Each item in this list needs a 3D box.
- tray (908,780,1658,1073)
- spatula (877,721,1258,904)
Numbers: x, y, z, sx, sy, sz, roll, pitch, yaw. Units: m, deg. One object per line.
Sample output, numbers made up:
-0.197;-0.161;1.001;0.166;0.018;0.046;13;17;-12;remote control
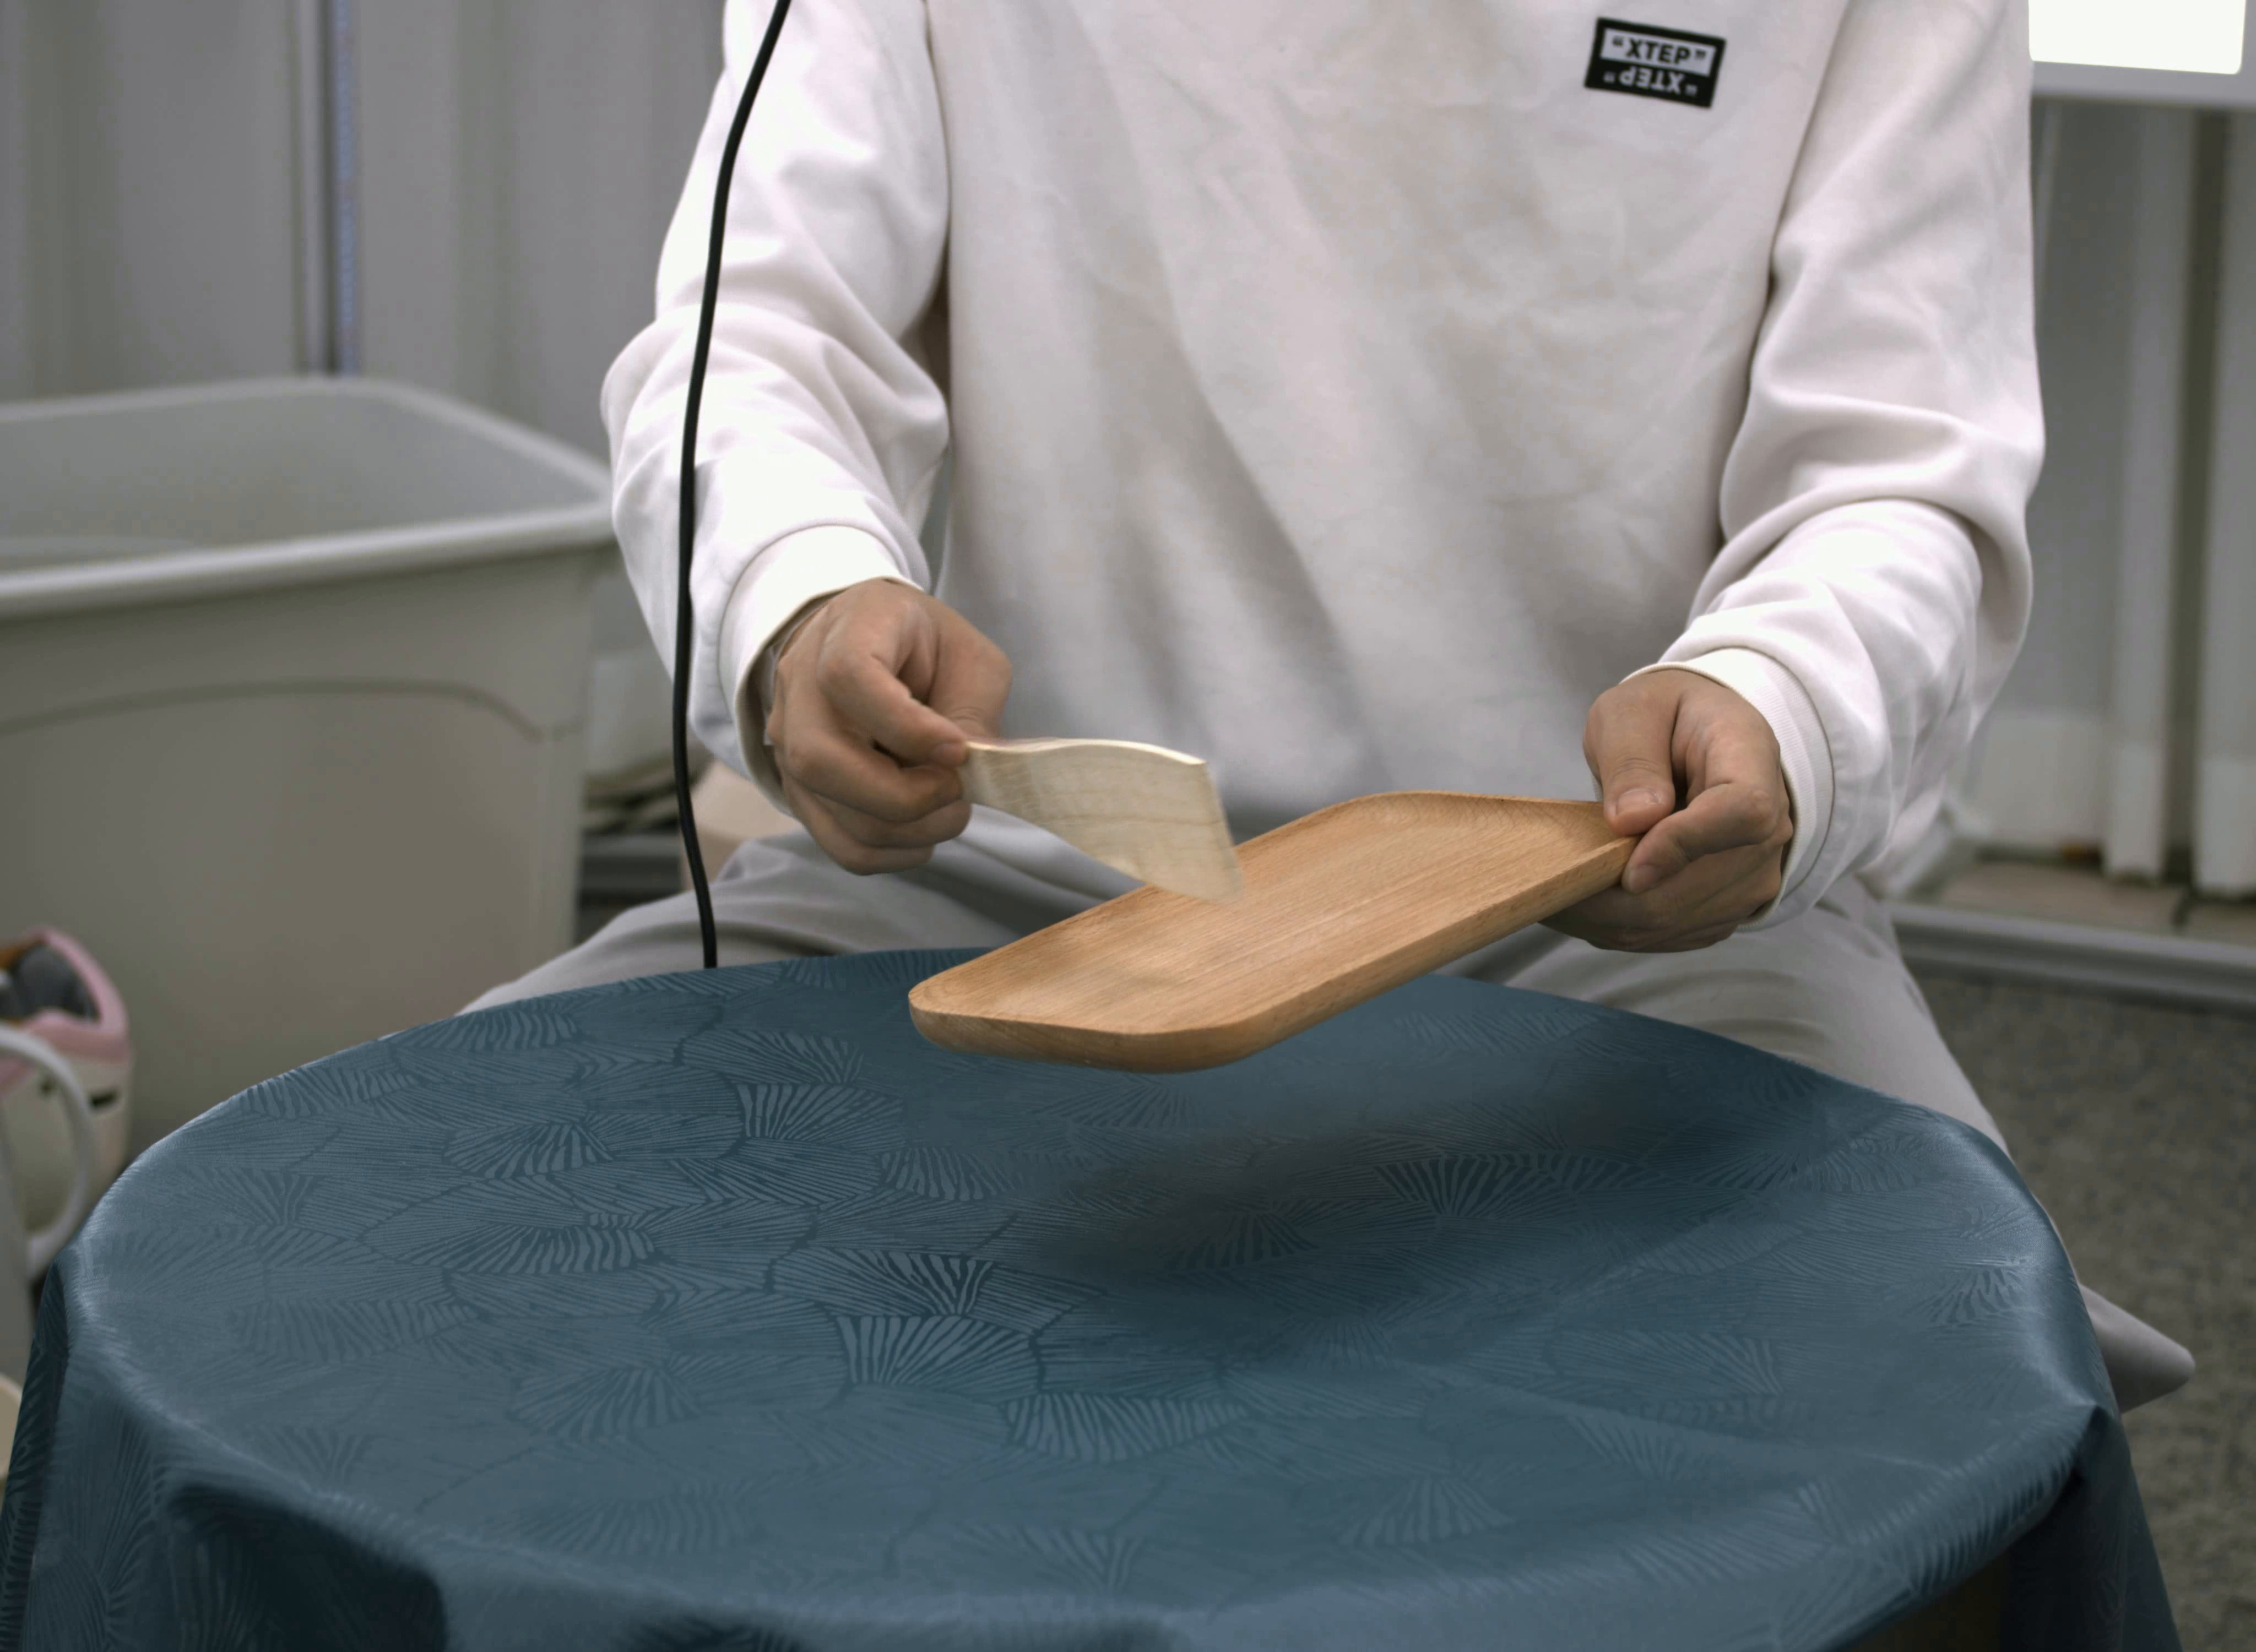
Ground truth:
0.051;0.028;1.610;0.129;0.023;0.251;9;21;39;tray
-0.024;-0.011;1.619;0.005;0.051;0.205;-27;21;-28;spatula
